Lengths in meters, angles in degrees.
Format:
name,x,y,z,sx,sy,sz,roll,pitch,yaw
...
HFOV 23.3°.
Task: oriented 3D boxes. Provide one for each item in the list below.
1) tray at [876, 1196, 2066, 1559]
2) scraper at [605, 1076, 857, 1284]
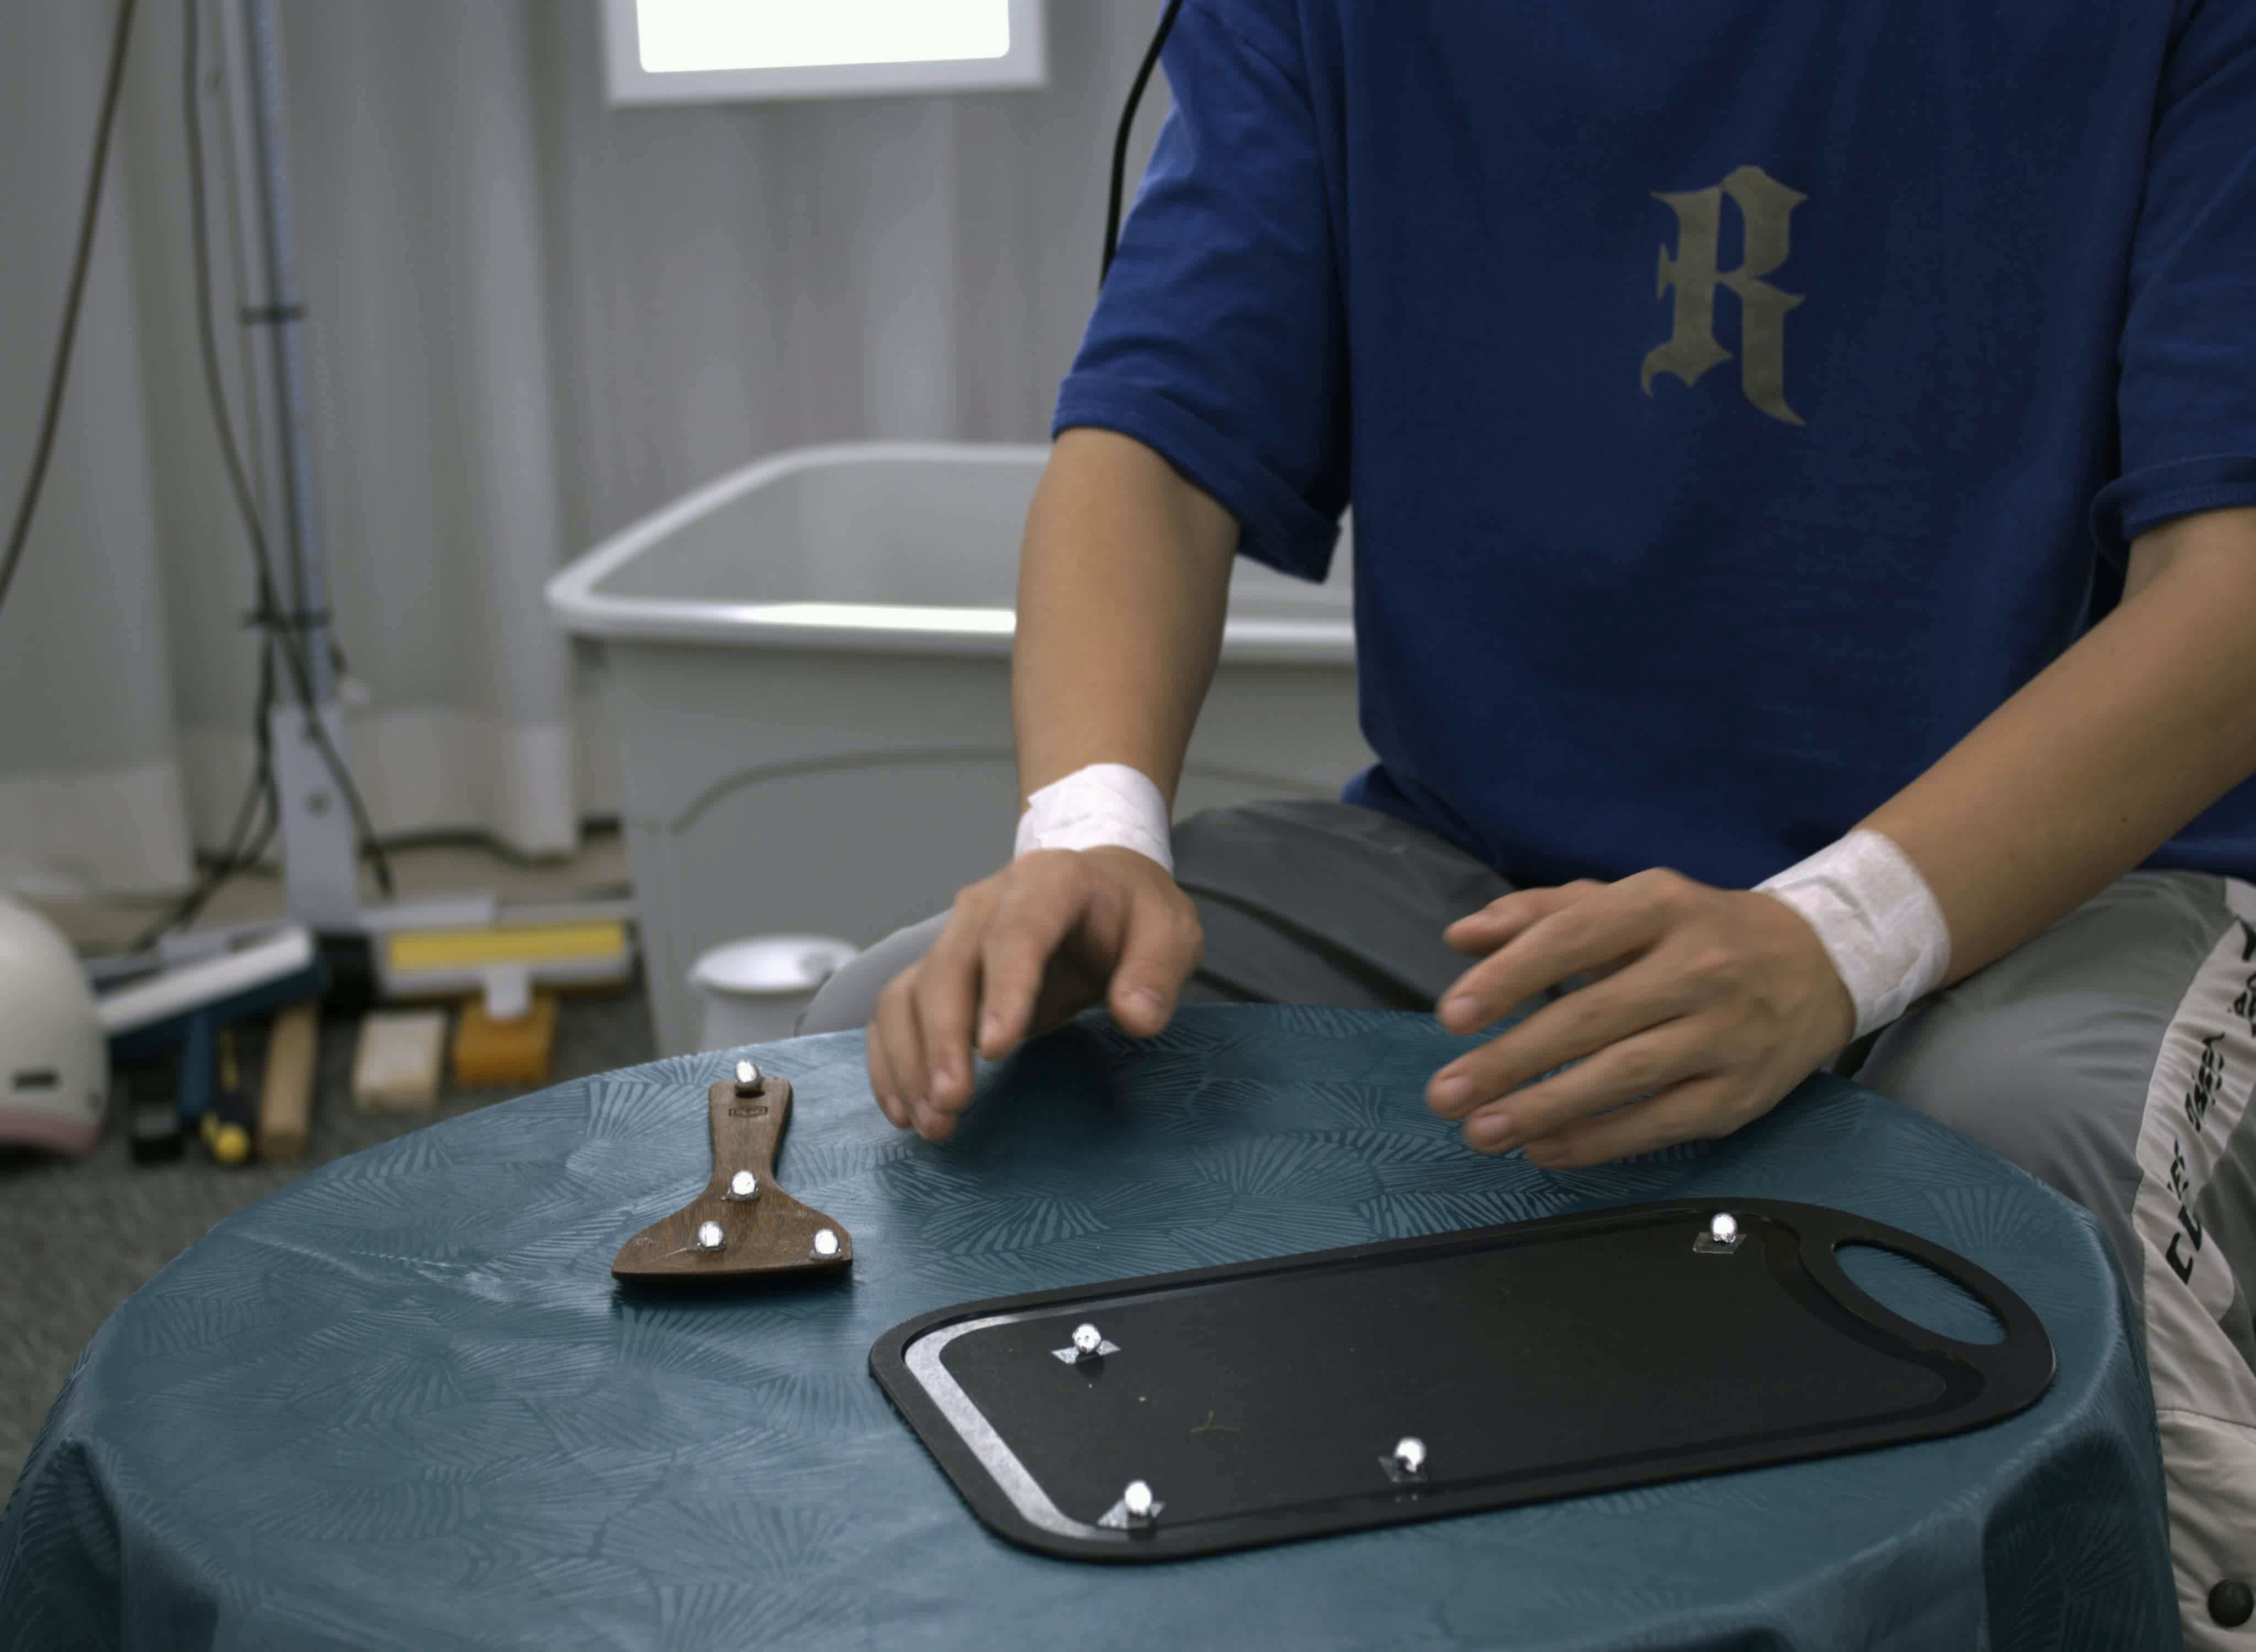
name,x,y,z,sx,sy,sz,roll,pitch,yaw
tray,0.100,0.149,1.546,0.324,0.010,0.213,-7,15,-15
scraper,-0.122,0.112,1.729,0.075,0.011,0.212,-3,14,-1
